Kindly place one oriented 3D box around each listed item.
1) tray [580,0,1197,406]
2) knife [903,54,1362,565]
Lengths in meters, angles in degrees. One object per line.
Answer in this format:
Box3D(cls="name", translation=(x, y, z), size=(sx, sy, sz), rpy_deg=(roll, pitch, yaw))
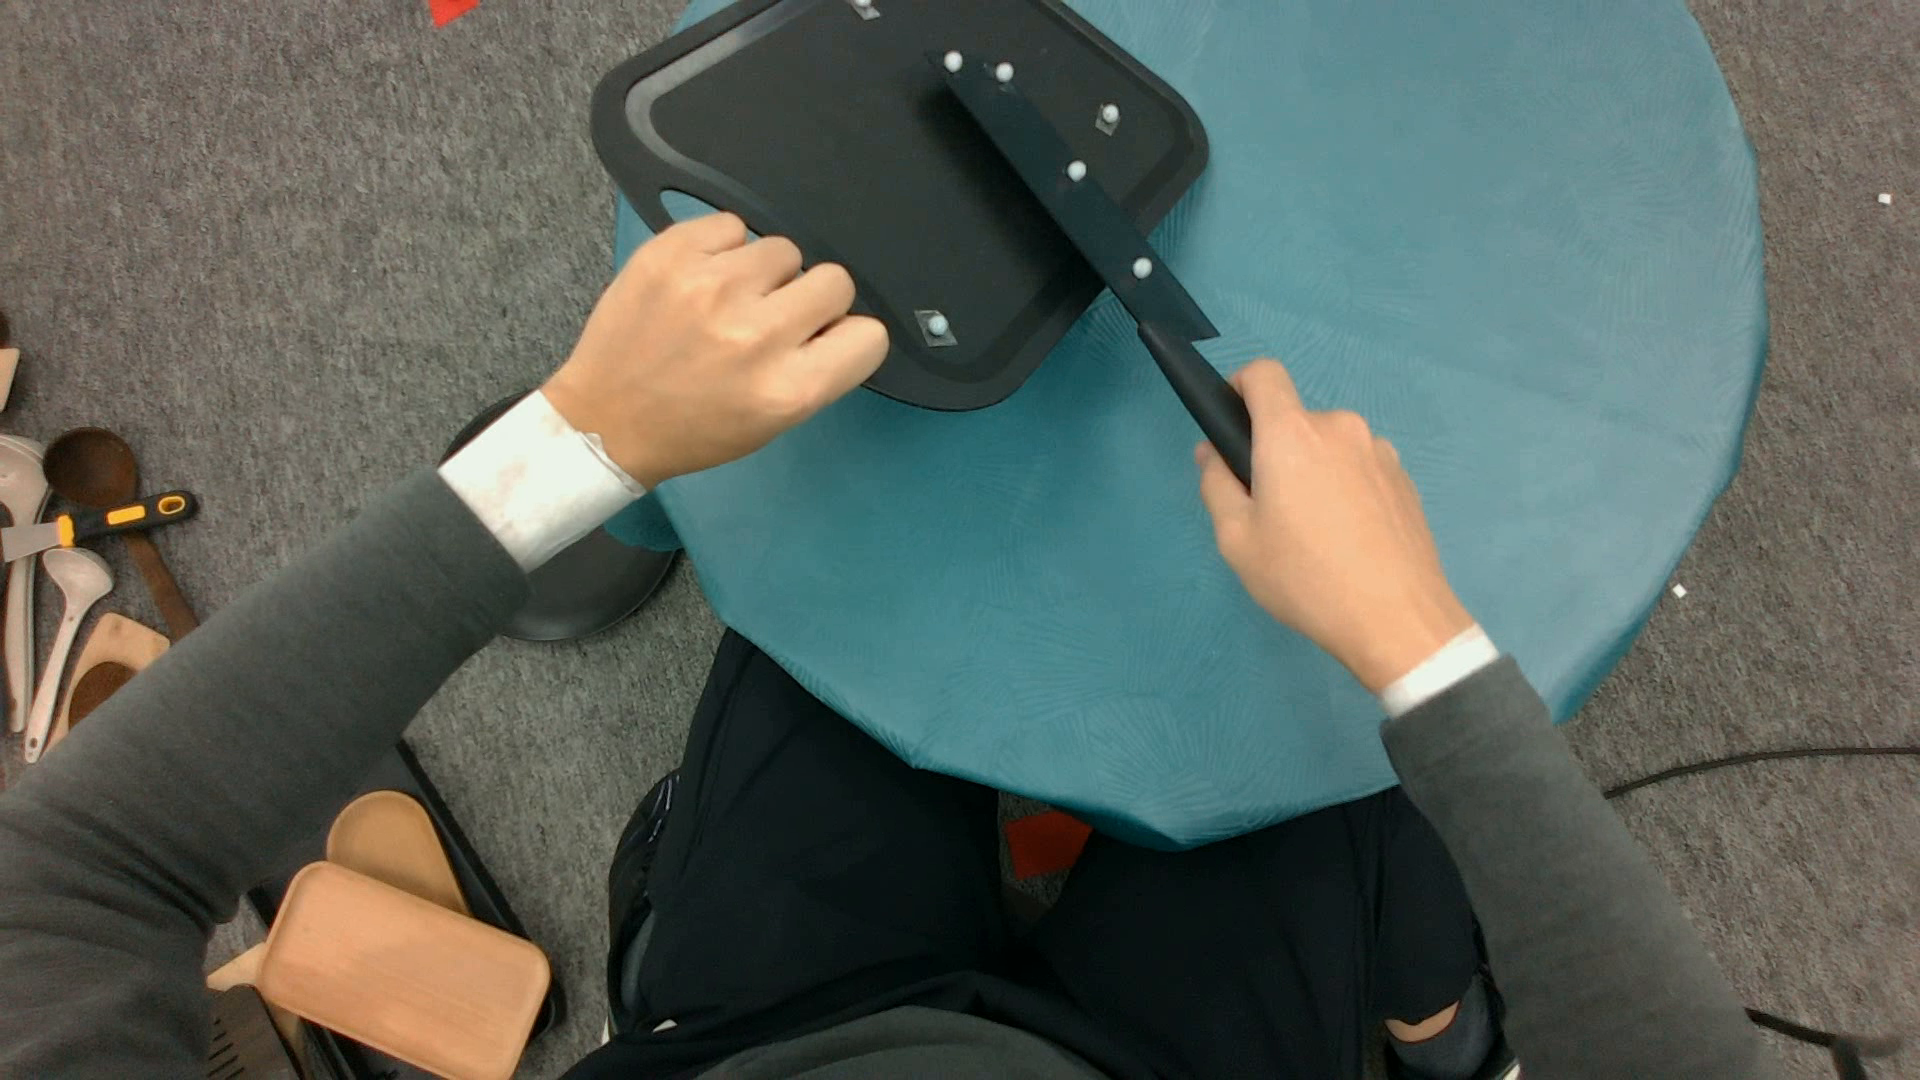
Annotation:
Box3D(cls="tray", translation=(-0.017, -0.186, 0.631), size=(0.211, 0.010, 0.327), rpy_deg=(38, 48, 1))
Box3D(cls="knife", translation=(0.076, -0.111, 0.611), size=(0.021, 0.081, 0.302), rpy_deg=(-47, 69, 35))
